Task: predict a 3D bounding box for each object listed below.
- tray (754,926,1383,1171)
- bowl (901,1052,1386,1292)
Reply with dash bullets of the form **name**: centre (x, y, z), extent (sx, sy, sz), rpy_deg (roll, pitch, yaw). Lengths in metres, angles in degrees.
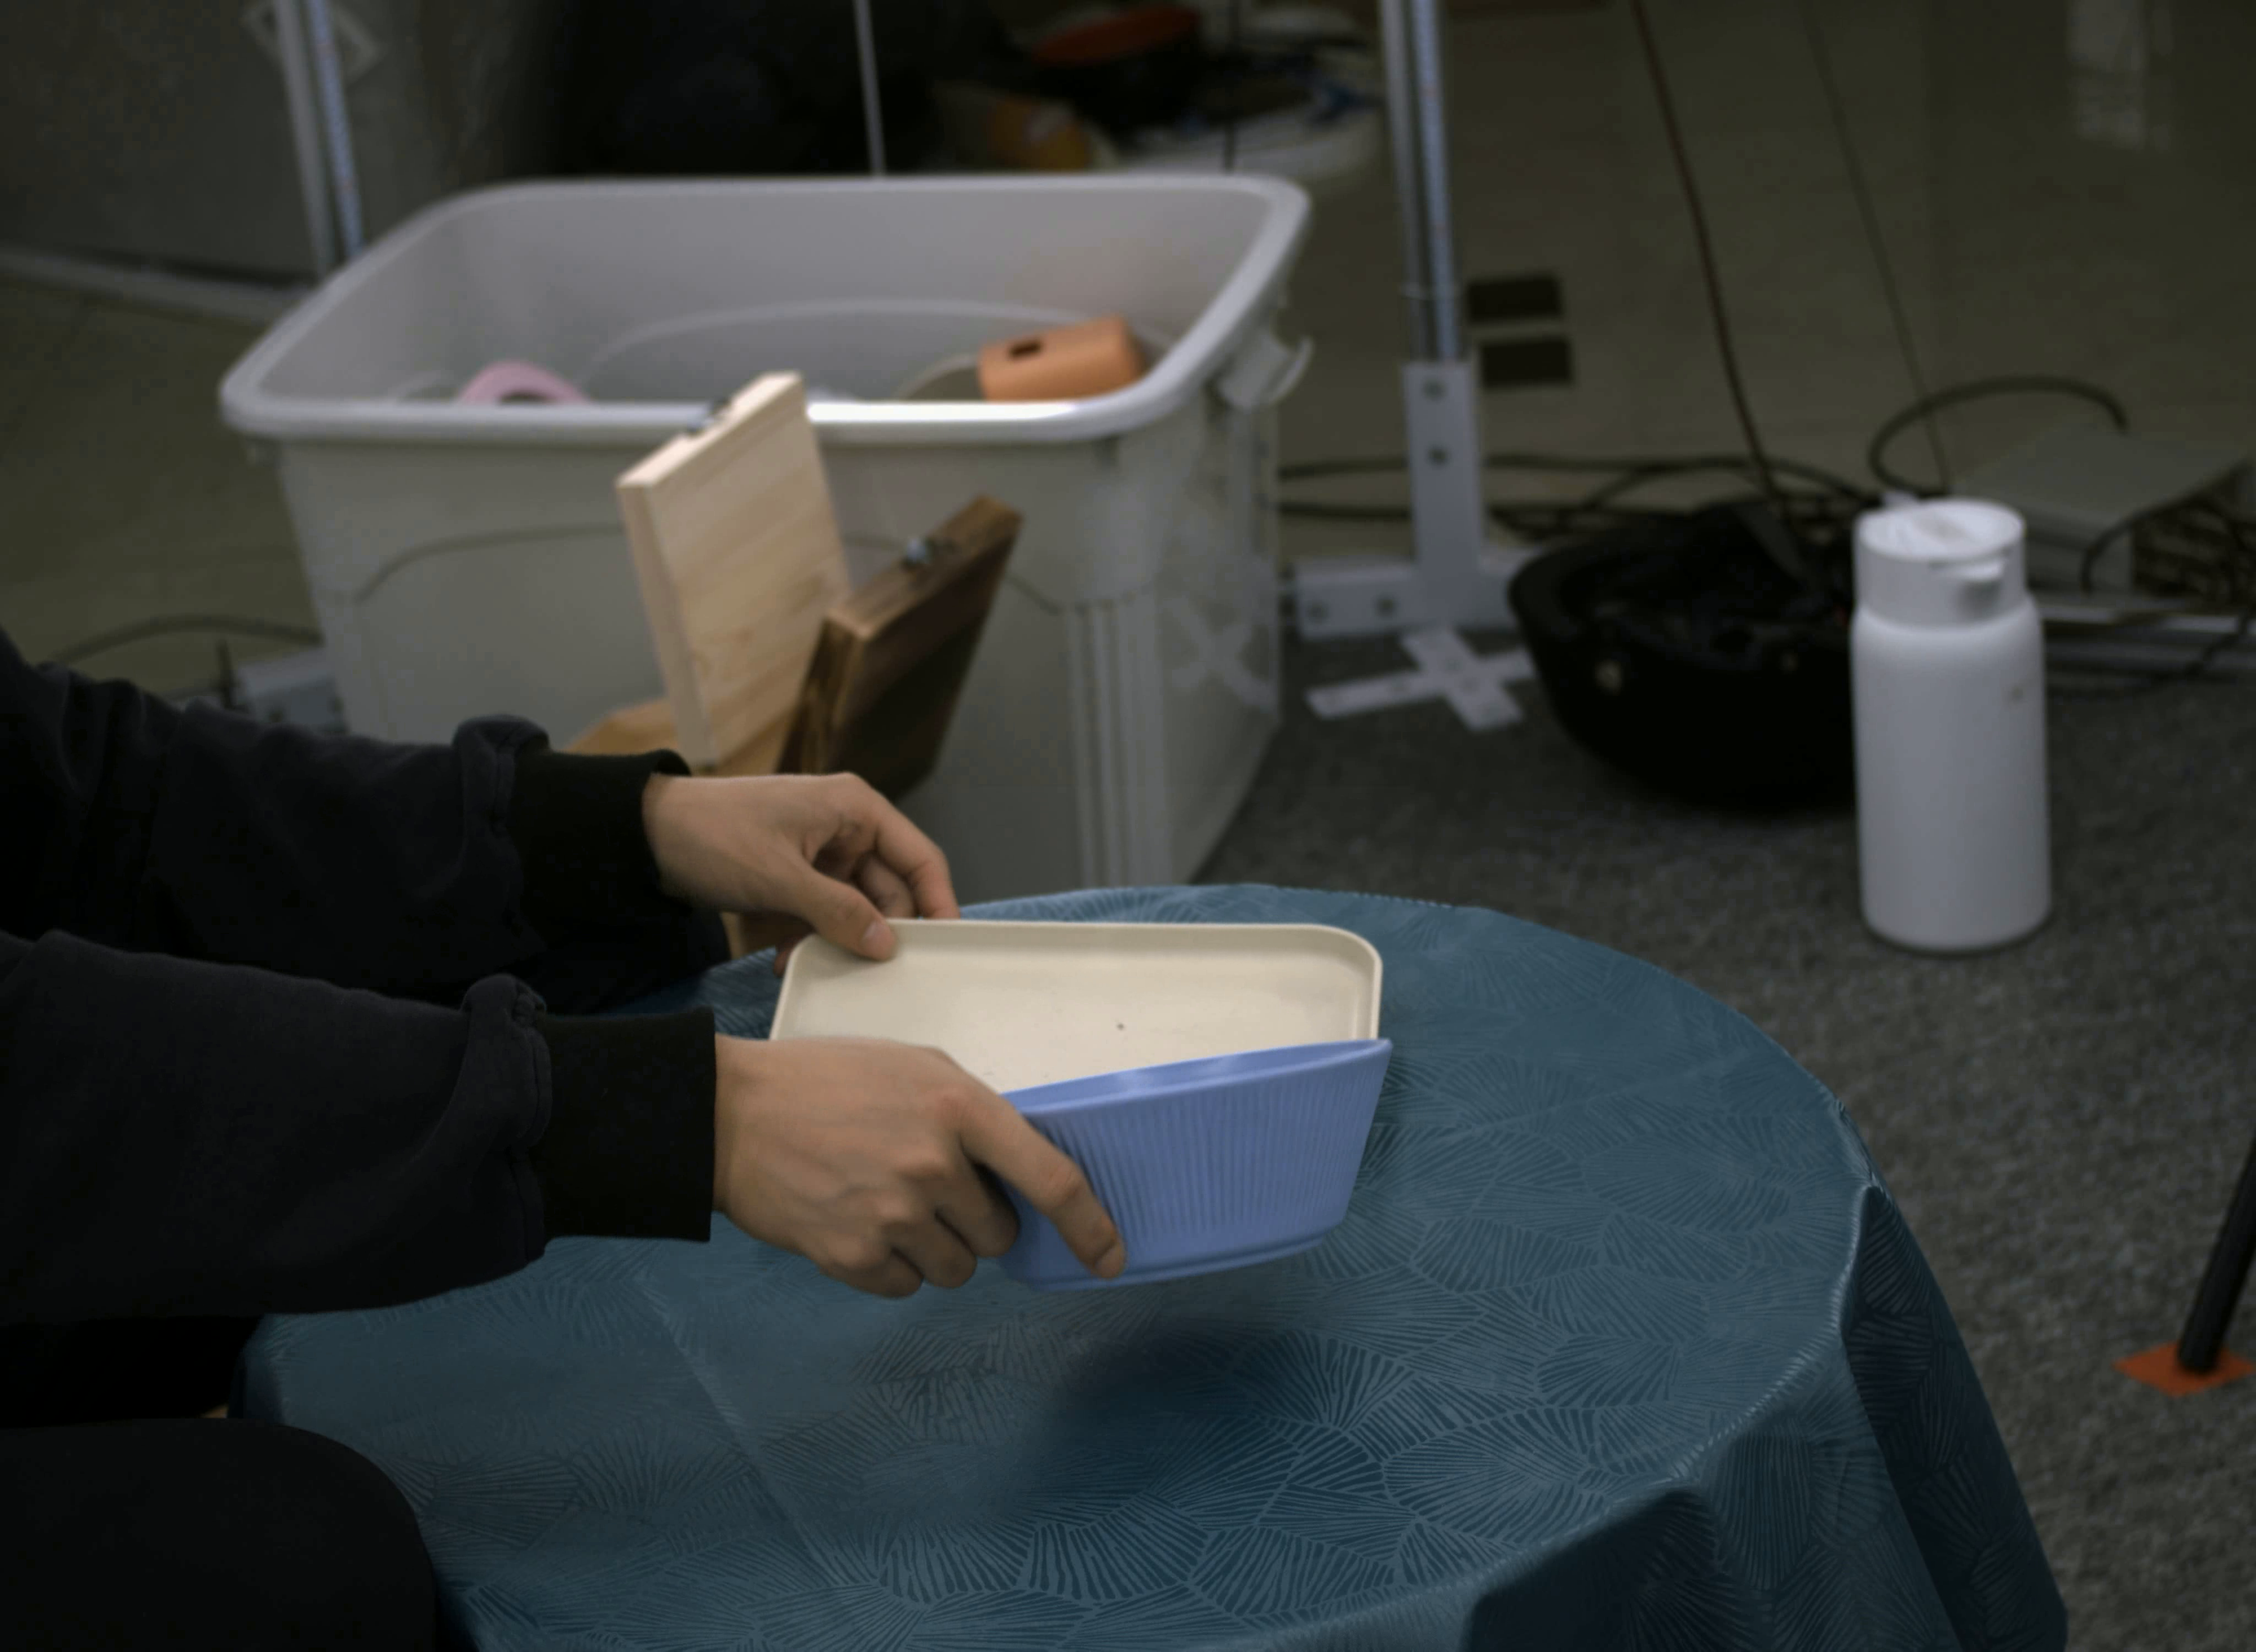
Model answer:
- **tray**: centre (-0.021, 0.088, 2.219), extent (0.239, 0.018, 0.168), rpy_deg (0, 30, 5)
- **bowl**: centre (0.009, 0.124, 2.023), extent (0.176, 0.070, 0.176), rpy_deg (-8, 1, 0)
